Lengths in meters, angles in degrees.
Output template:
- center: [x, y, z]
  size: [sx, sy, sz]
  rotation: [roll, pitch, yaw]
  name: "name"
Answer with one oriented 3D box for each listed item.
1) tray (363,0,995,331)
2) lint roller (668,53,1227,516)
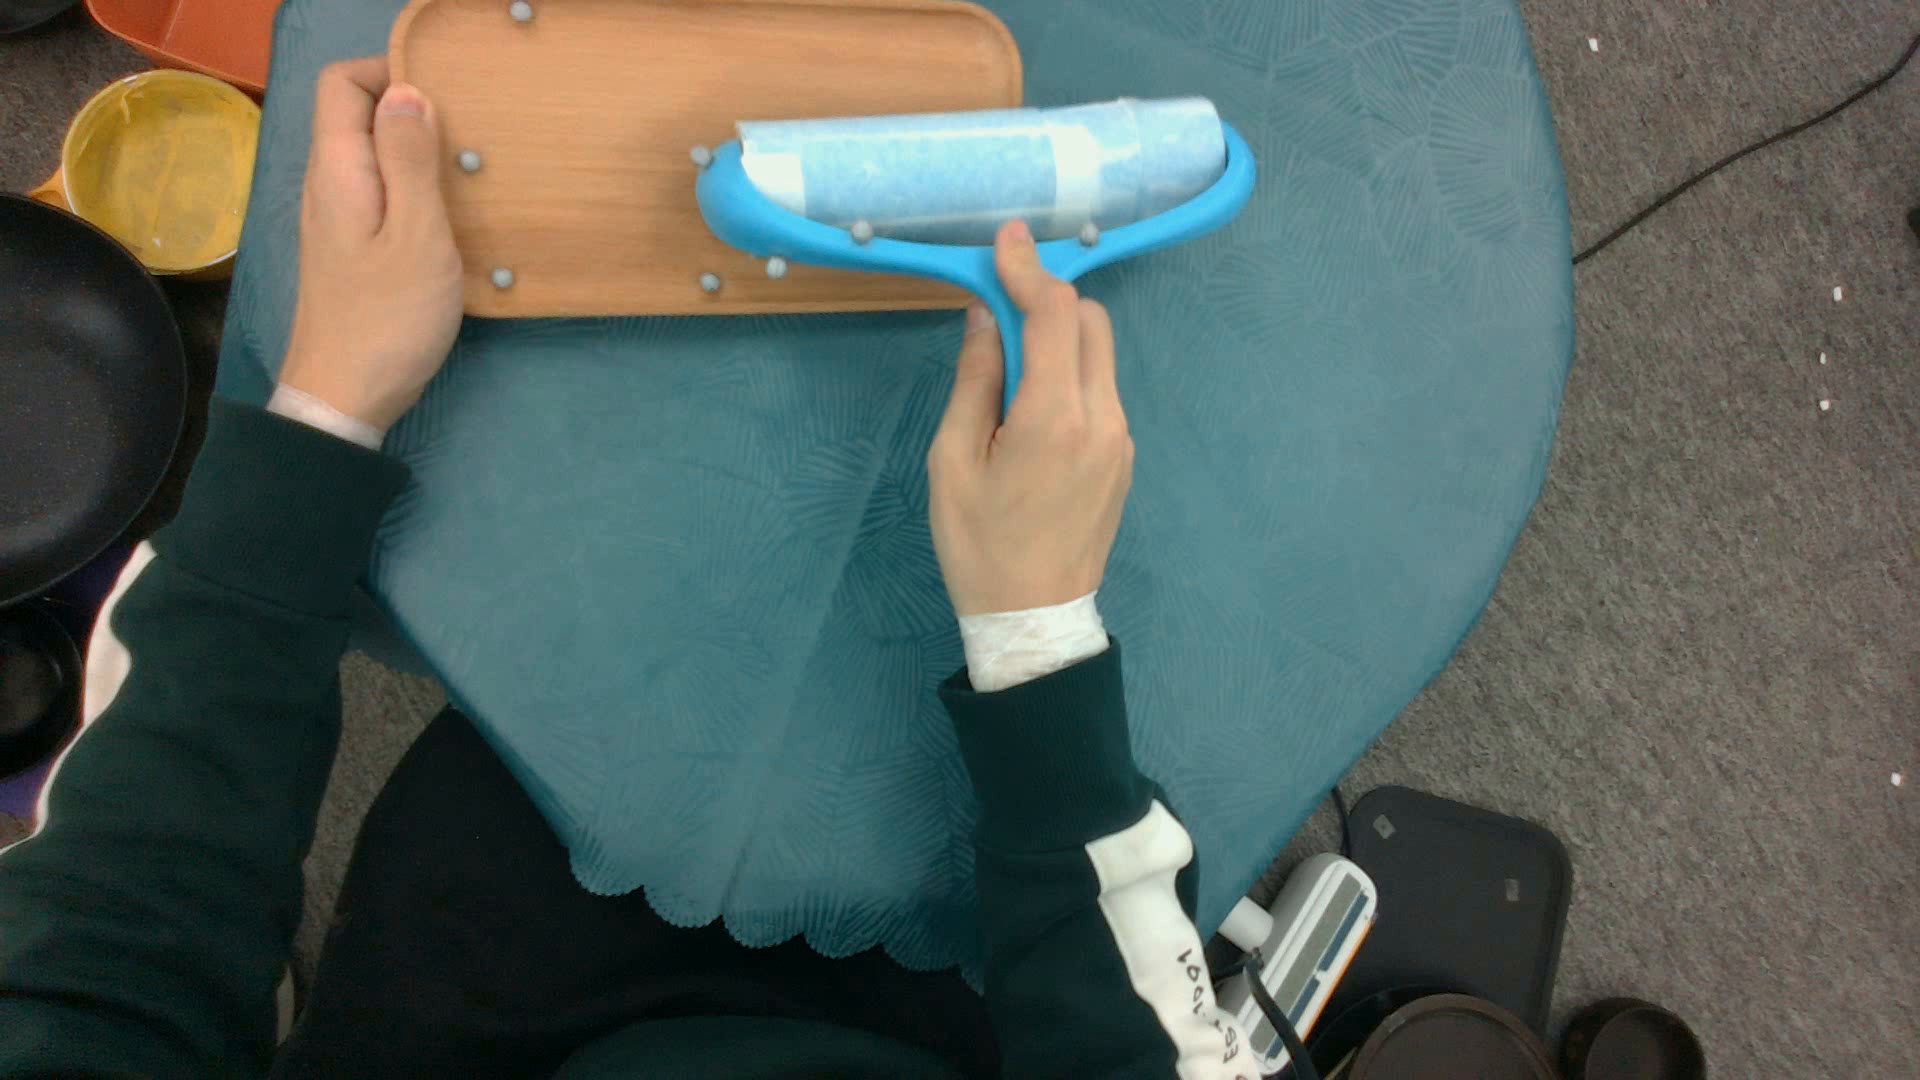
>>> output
- center: [-0.106, -0.156, 0.564]
  size: [0.251, 0.023, 0.130]
  rotation: [-5, 103, -14]
  name: "tray"
- center: [0.013, -0.103, 0.544]
  size: [0.229, 0.067, 0.180]
  rotation: [-12, 80, -16]
  name: "lint roller"
